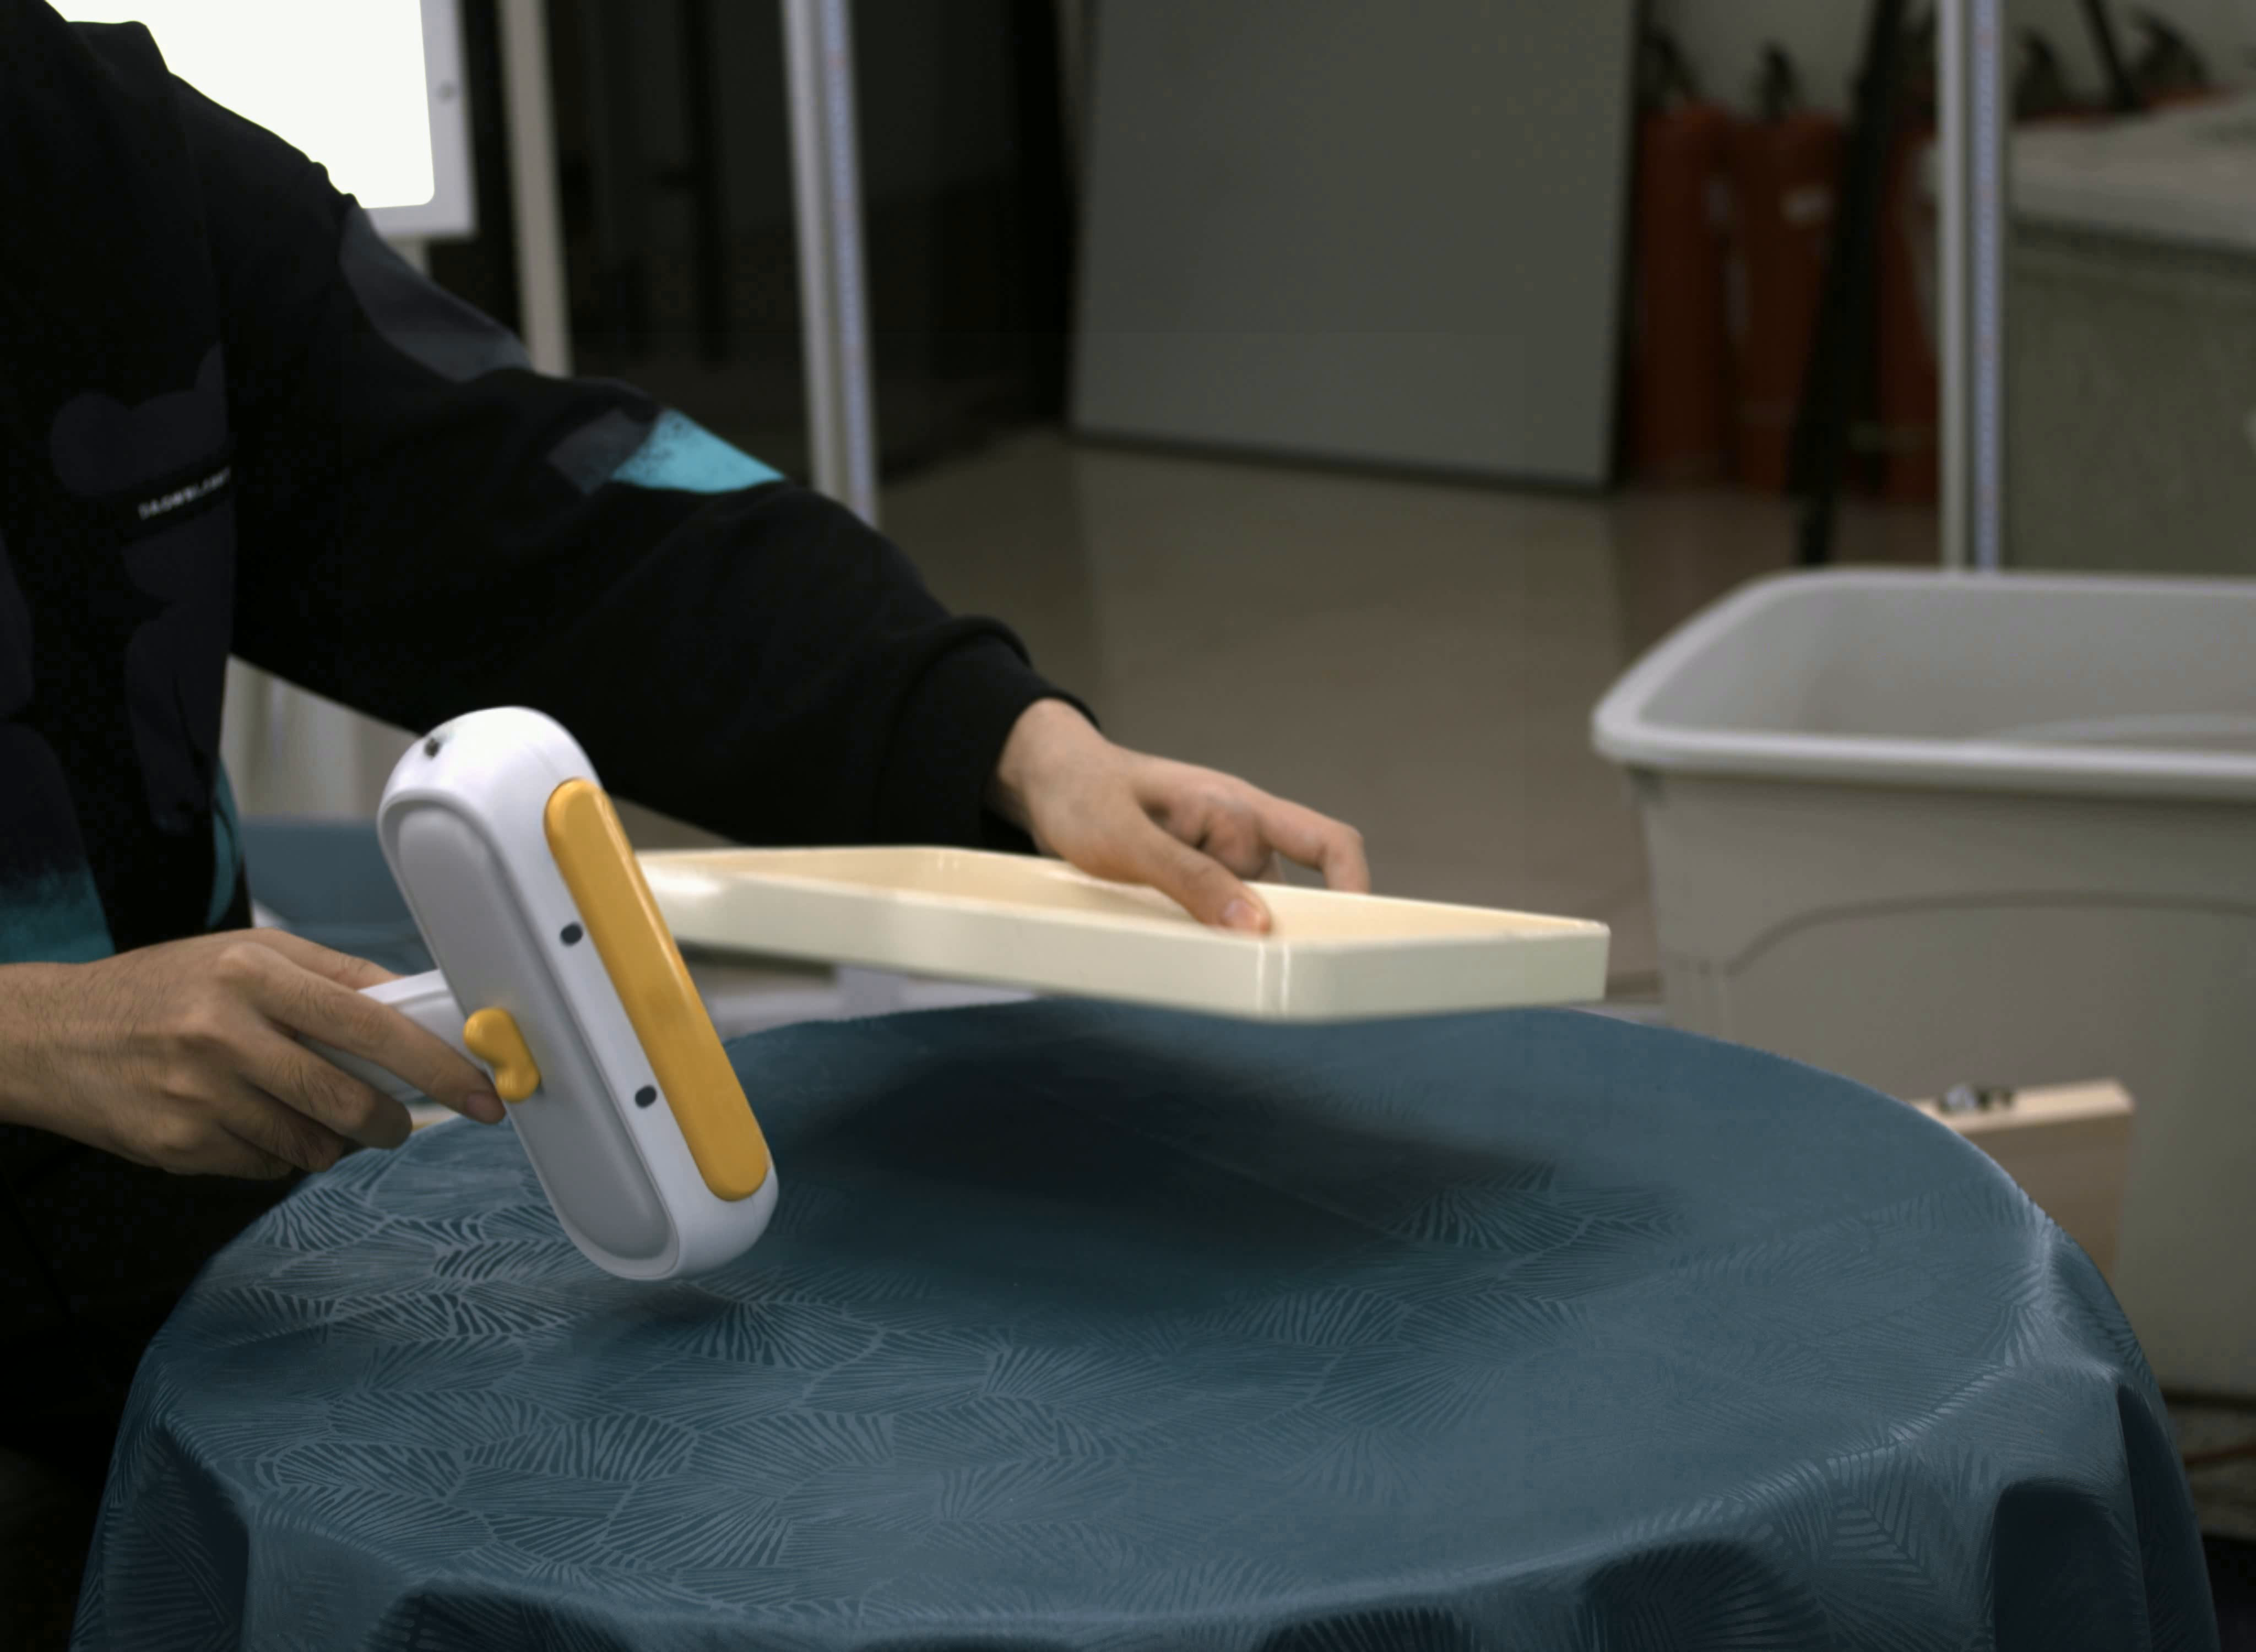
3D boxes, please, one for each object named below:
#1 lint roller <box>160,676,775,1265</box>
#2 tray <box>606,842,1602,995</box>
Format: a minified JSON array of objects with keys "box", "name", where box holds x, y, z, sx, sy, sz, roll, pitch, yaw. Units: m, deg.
[{"box":[-0.219,0.062,1.690,0.194,0.193,0.073,-15,21,37],"name":"lint roller"},{"box":[-0.012,0.030,1.783,0.302,0.028,0.187,5,2,39],"name":"tray"}]
